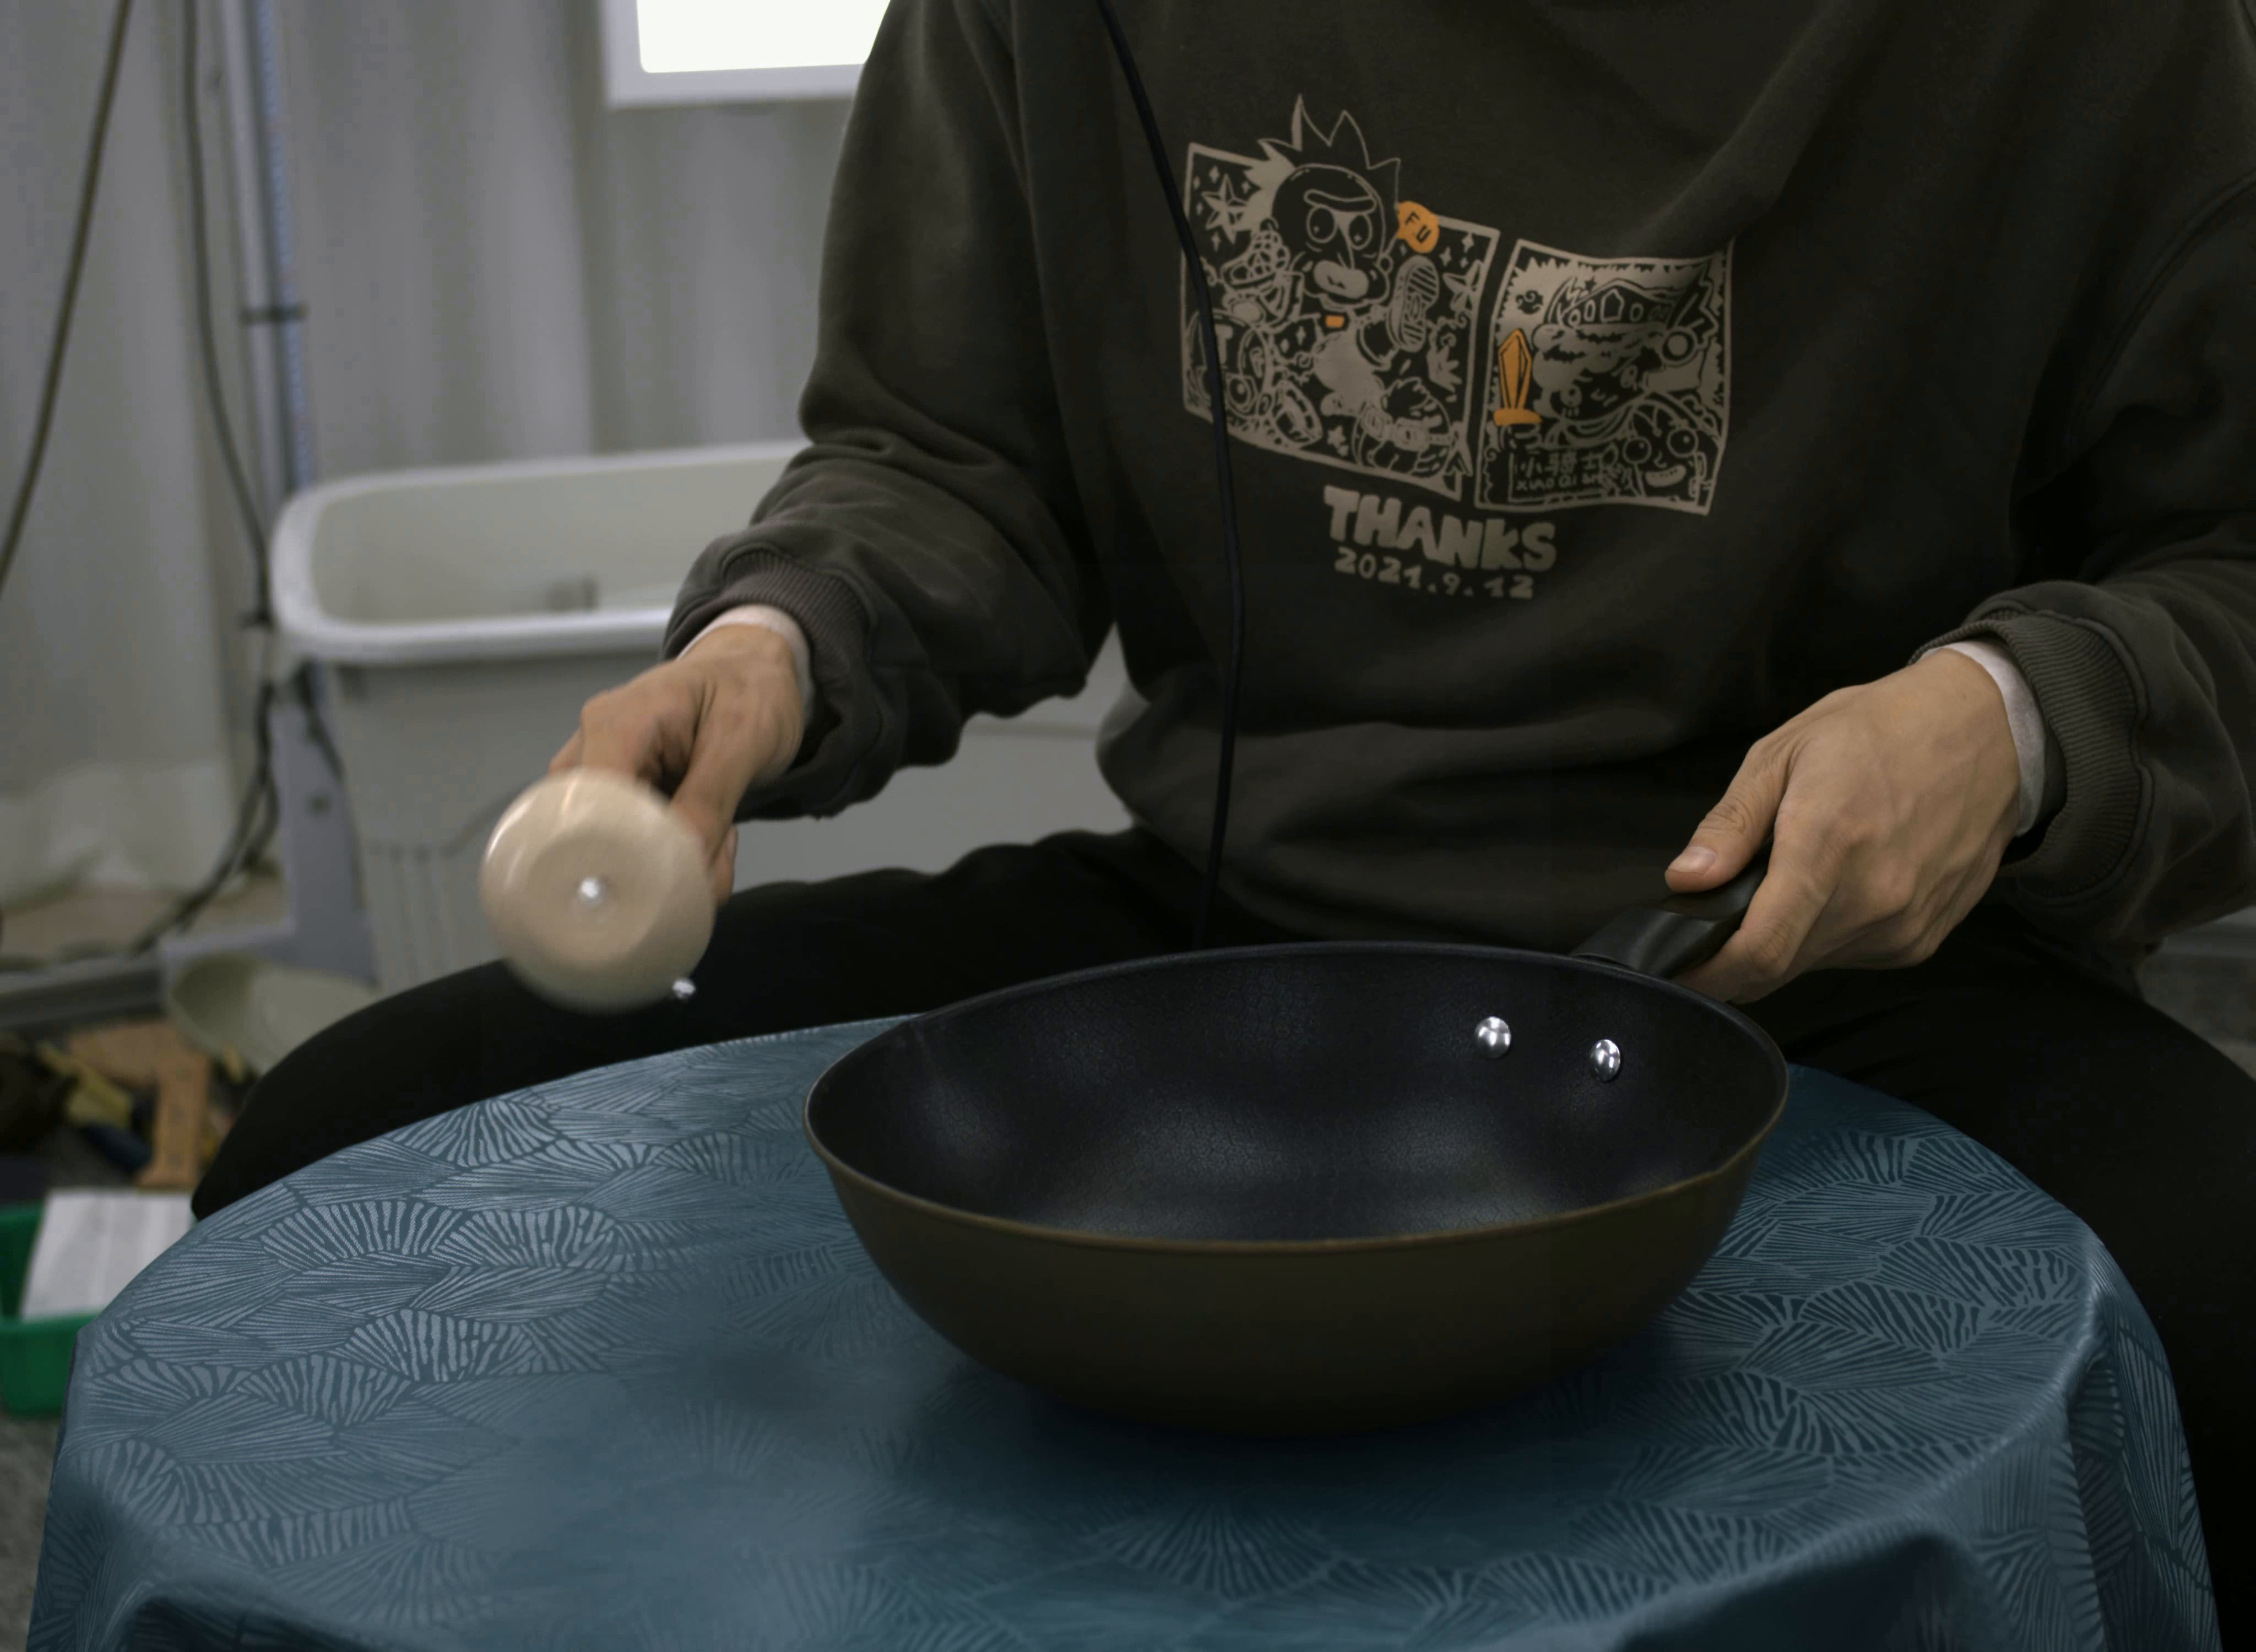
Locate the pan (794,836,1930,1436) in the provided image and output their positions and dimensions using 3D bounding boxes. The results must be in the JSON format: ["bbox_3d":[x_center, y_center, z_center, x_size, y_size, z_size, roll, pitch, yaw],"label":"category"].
[{"bbox_3d":[0.104,0.089,1.637,0.289,0.086,0.463,9,18,38],"label":"pan"}]

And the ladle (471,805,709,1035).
[{"bbox_3d":[-0.148,0.004,1.710,0.072,0.072,0.256,42,13,-5],"label":"ladle"}]
